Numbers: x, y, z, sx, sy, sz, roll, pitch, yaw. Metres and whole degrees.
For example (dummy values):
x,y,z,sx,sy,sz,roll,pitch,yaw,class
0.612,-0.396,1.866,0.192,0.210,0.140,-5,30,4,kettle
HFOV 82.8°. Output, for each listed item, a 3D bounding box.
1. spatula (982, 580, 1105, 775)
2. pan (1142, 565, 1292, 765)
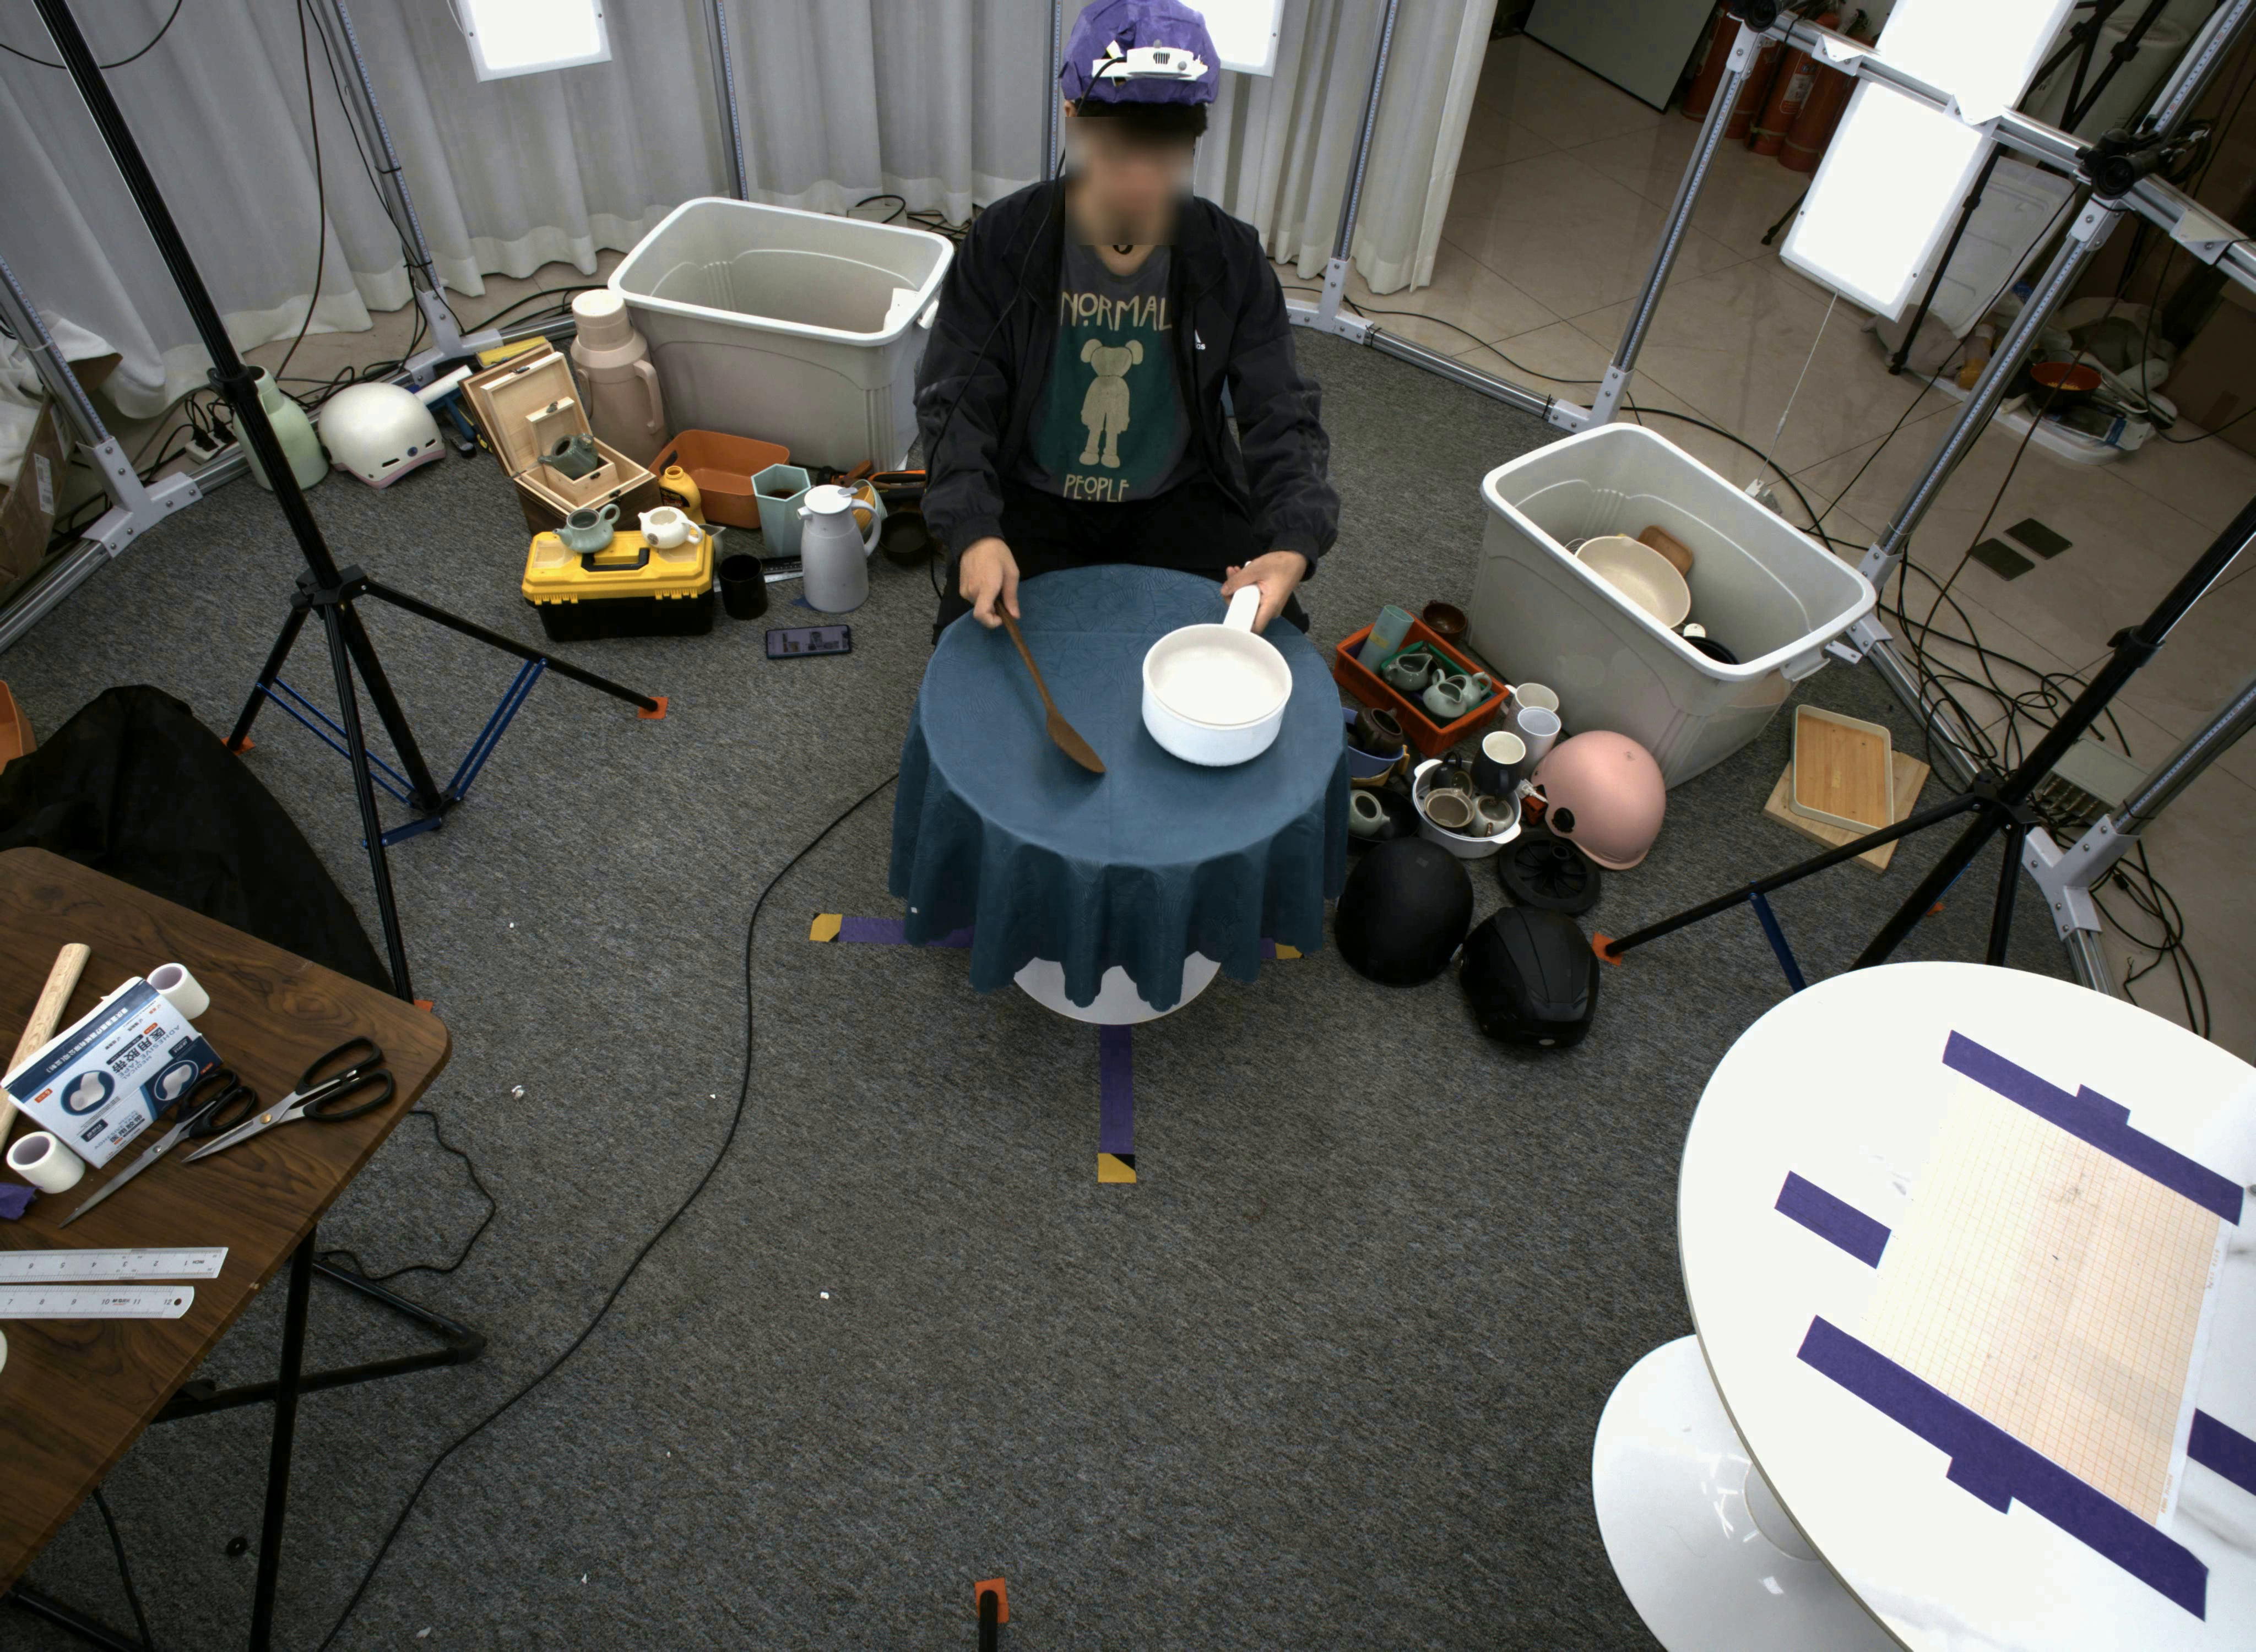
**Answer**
x,y,z,sx,sy,sz,roll,pitch,yaw,class
-0.130,-0.217,1.789,0.015,0.094,0.395,-41,54,19,spatula
0.141,-0.229,1.812,0.202,0.099,0.362,15,47,10,pan
